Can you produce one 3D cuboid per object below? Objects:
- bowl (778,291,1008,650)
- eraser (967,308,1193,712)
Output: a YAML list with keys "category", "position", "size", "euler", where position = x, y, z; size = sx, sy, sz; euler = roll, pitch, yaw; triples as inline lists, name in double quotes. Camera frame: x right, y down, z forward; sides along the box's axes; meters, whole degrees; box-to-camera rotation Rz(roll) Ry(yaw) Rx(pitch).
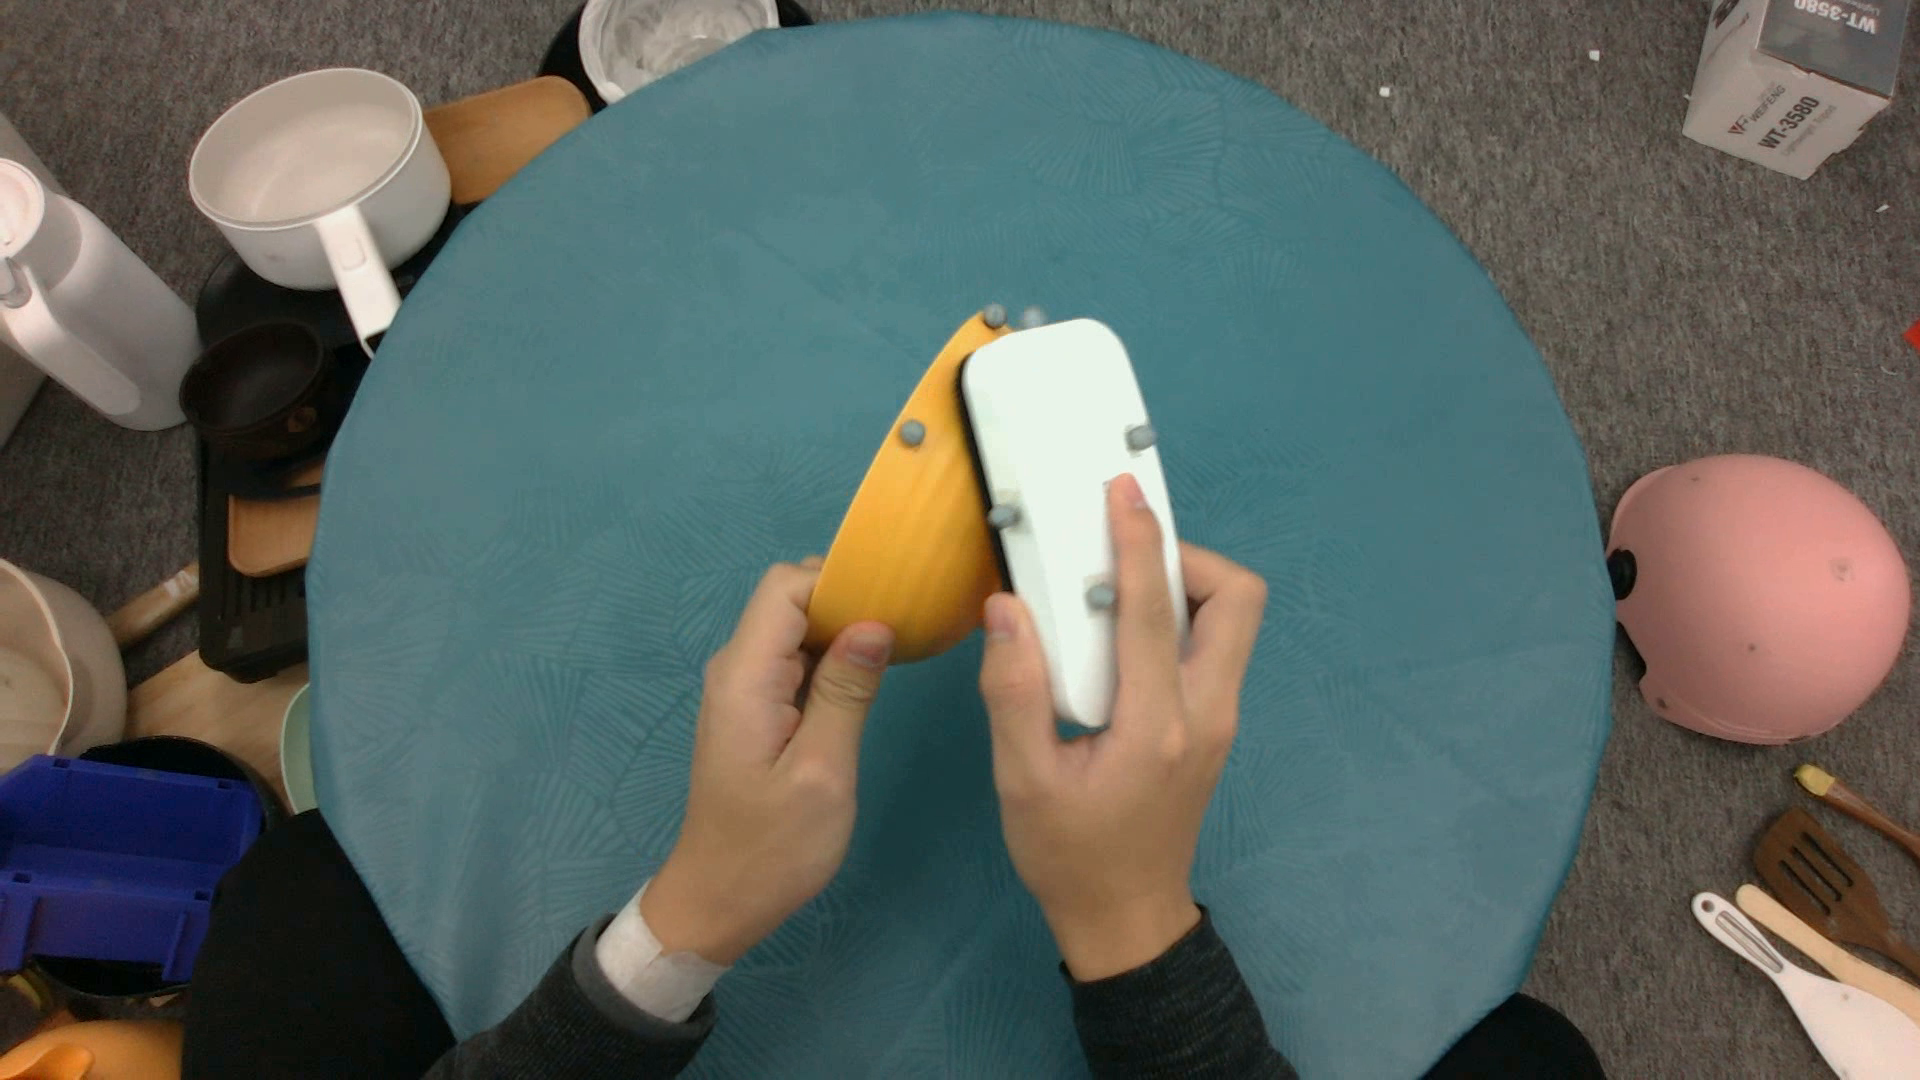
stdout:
- category: "bowl"
  position: [-0.005, -0.014, 0.506]
  size: [0.060, 0.145, 0.146]
  euler: [28, 71, 5]
- category: "eraser"
  position: [0.041, -0.010, 0.461]
  size: [0.063, 0.034, 0.131]
  euler: [-13, 94, -39]
